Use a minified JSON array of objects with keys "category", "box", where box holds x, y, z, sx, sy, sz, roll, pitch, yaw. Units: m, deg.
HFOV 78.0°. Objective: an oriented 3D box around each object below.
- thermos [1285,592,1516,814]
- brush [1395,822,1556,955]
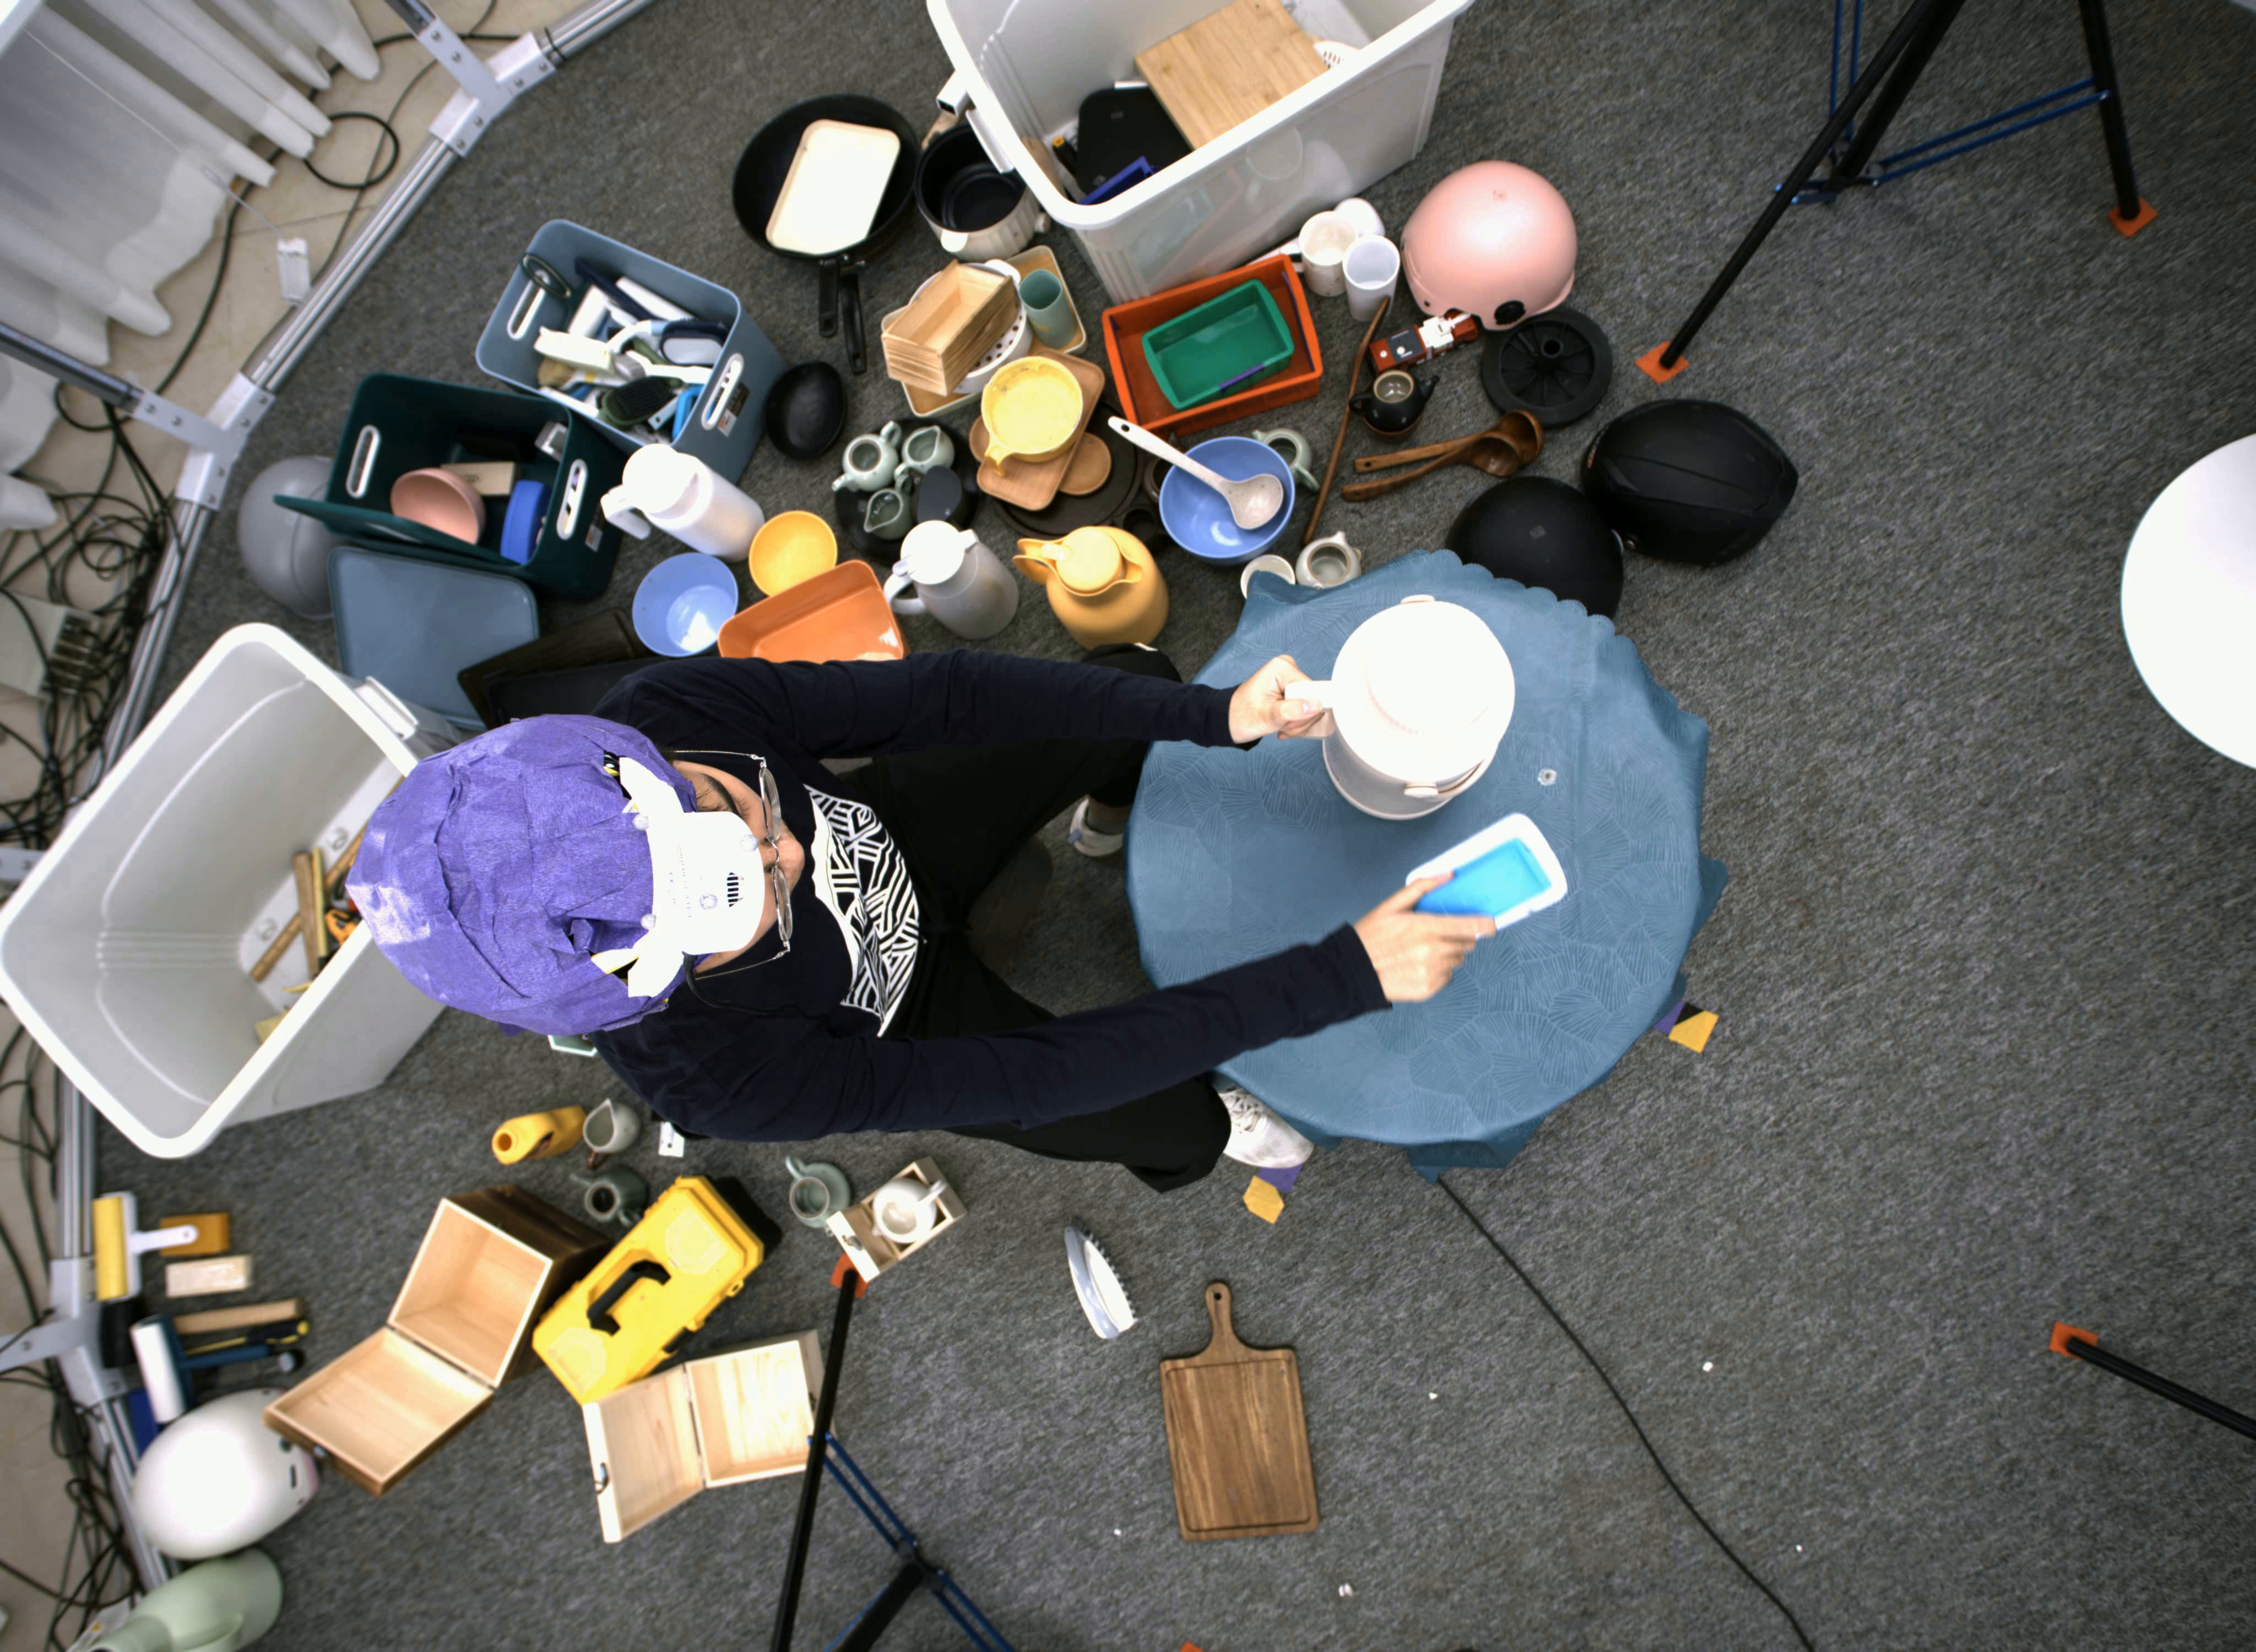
[{"category":"thermos","box":[0.250,-0.111,1.266,0.208,0.406,0.174,-1,86,8]},{"category":"brush","box":[0.296,0.057,1.202,0.147,0.055,0.083,-33,83,39]}]
